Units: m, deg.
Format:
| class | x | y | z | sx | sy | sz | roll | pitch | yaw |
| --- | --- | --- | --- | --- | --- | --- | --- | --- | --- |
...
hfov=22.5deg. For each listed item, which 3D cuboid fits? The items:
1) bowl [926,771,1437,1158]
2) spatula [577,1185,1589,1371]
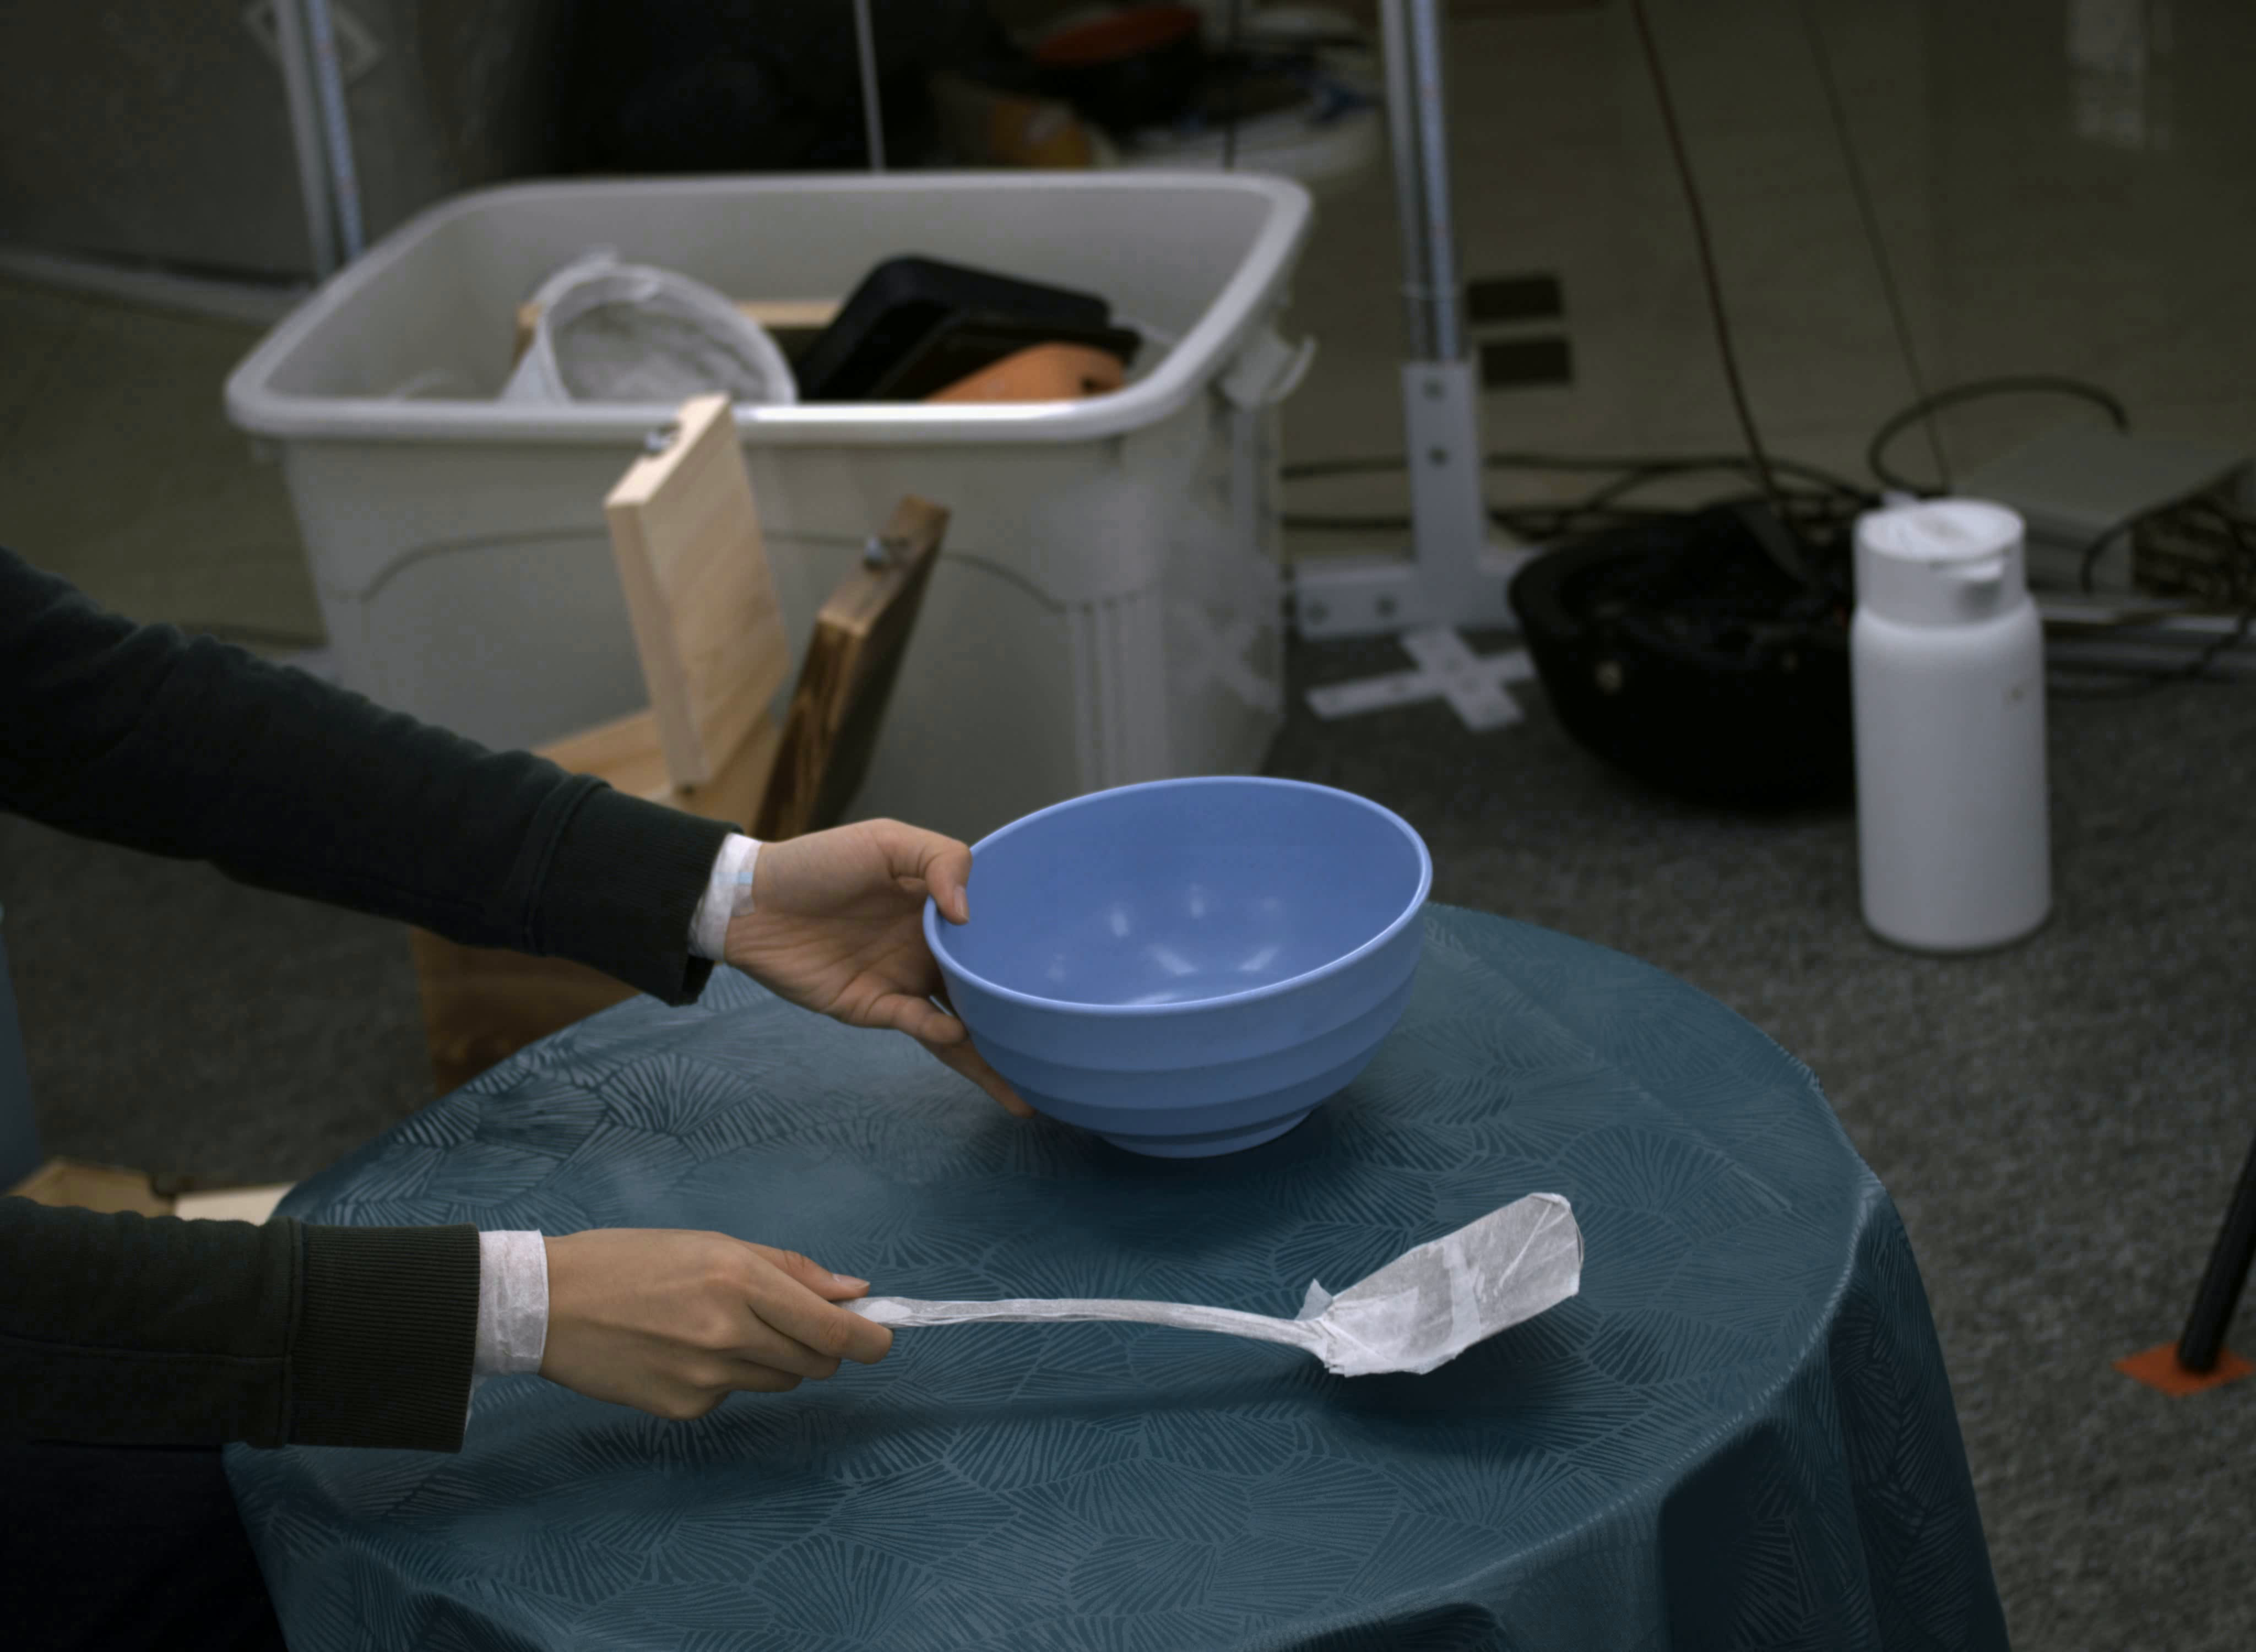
| class | x | y | z | sx | sy | sz | roll | pitch | yaw |
| --- | --- | --- | --- | --- | --- | --- | --- | --- | --- |
| bowl | 0.024 | 0.065 | 2.188 | 0.196 | 0.097 | 0.193 | -5 | 28 | 2 |
| spatula | -0.019 | 0.166 | 2.009 | 0.364 | 0.045 | 0.097 | -1 | 24 | 4 |
